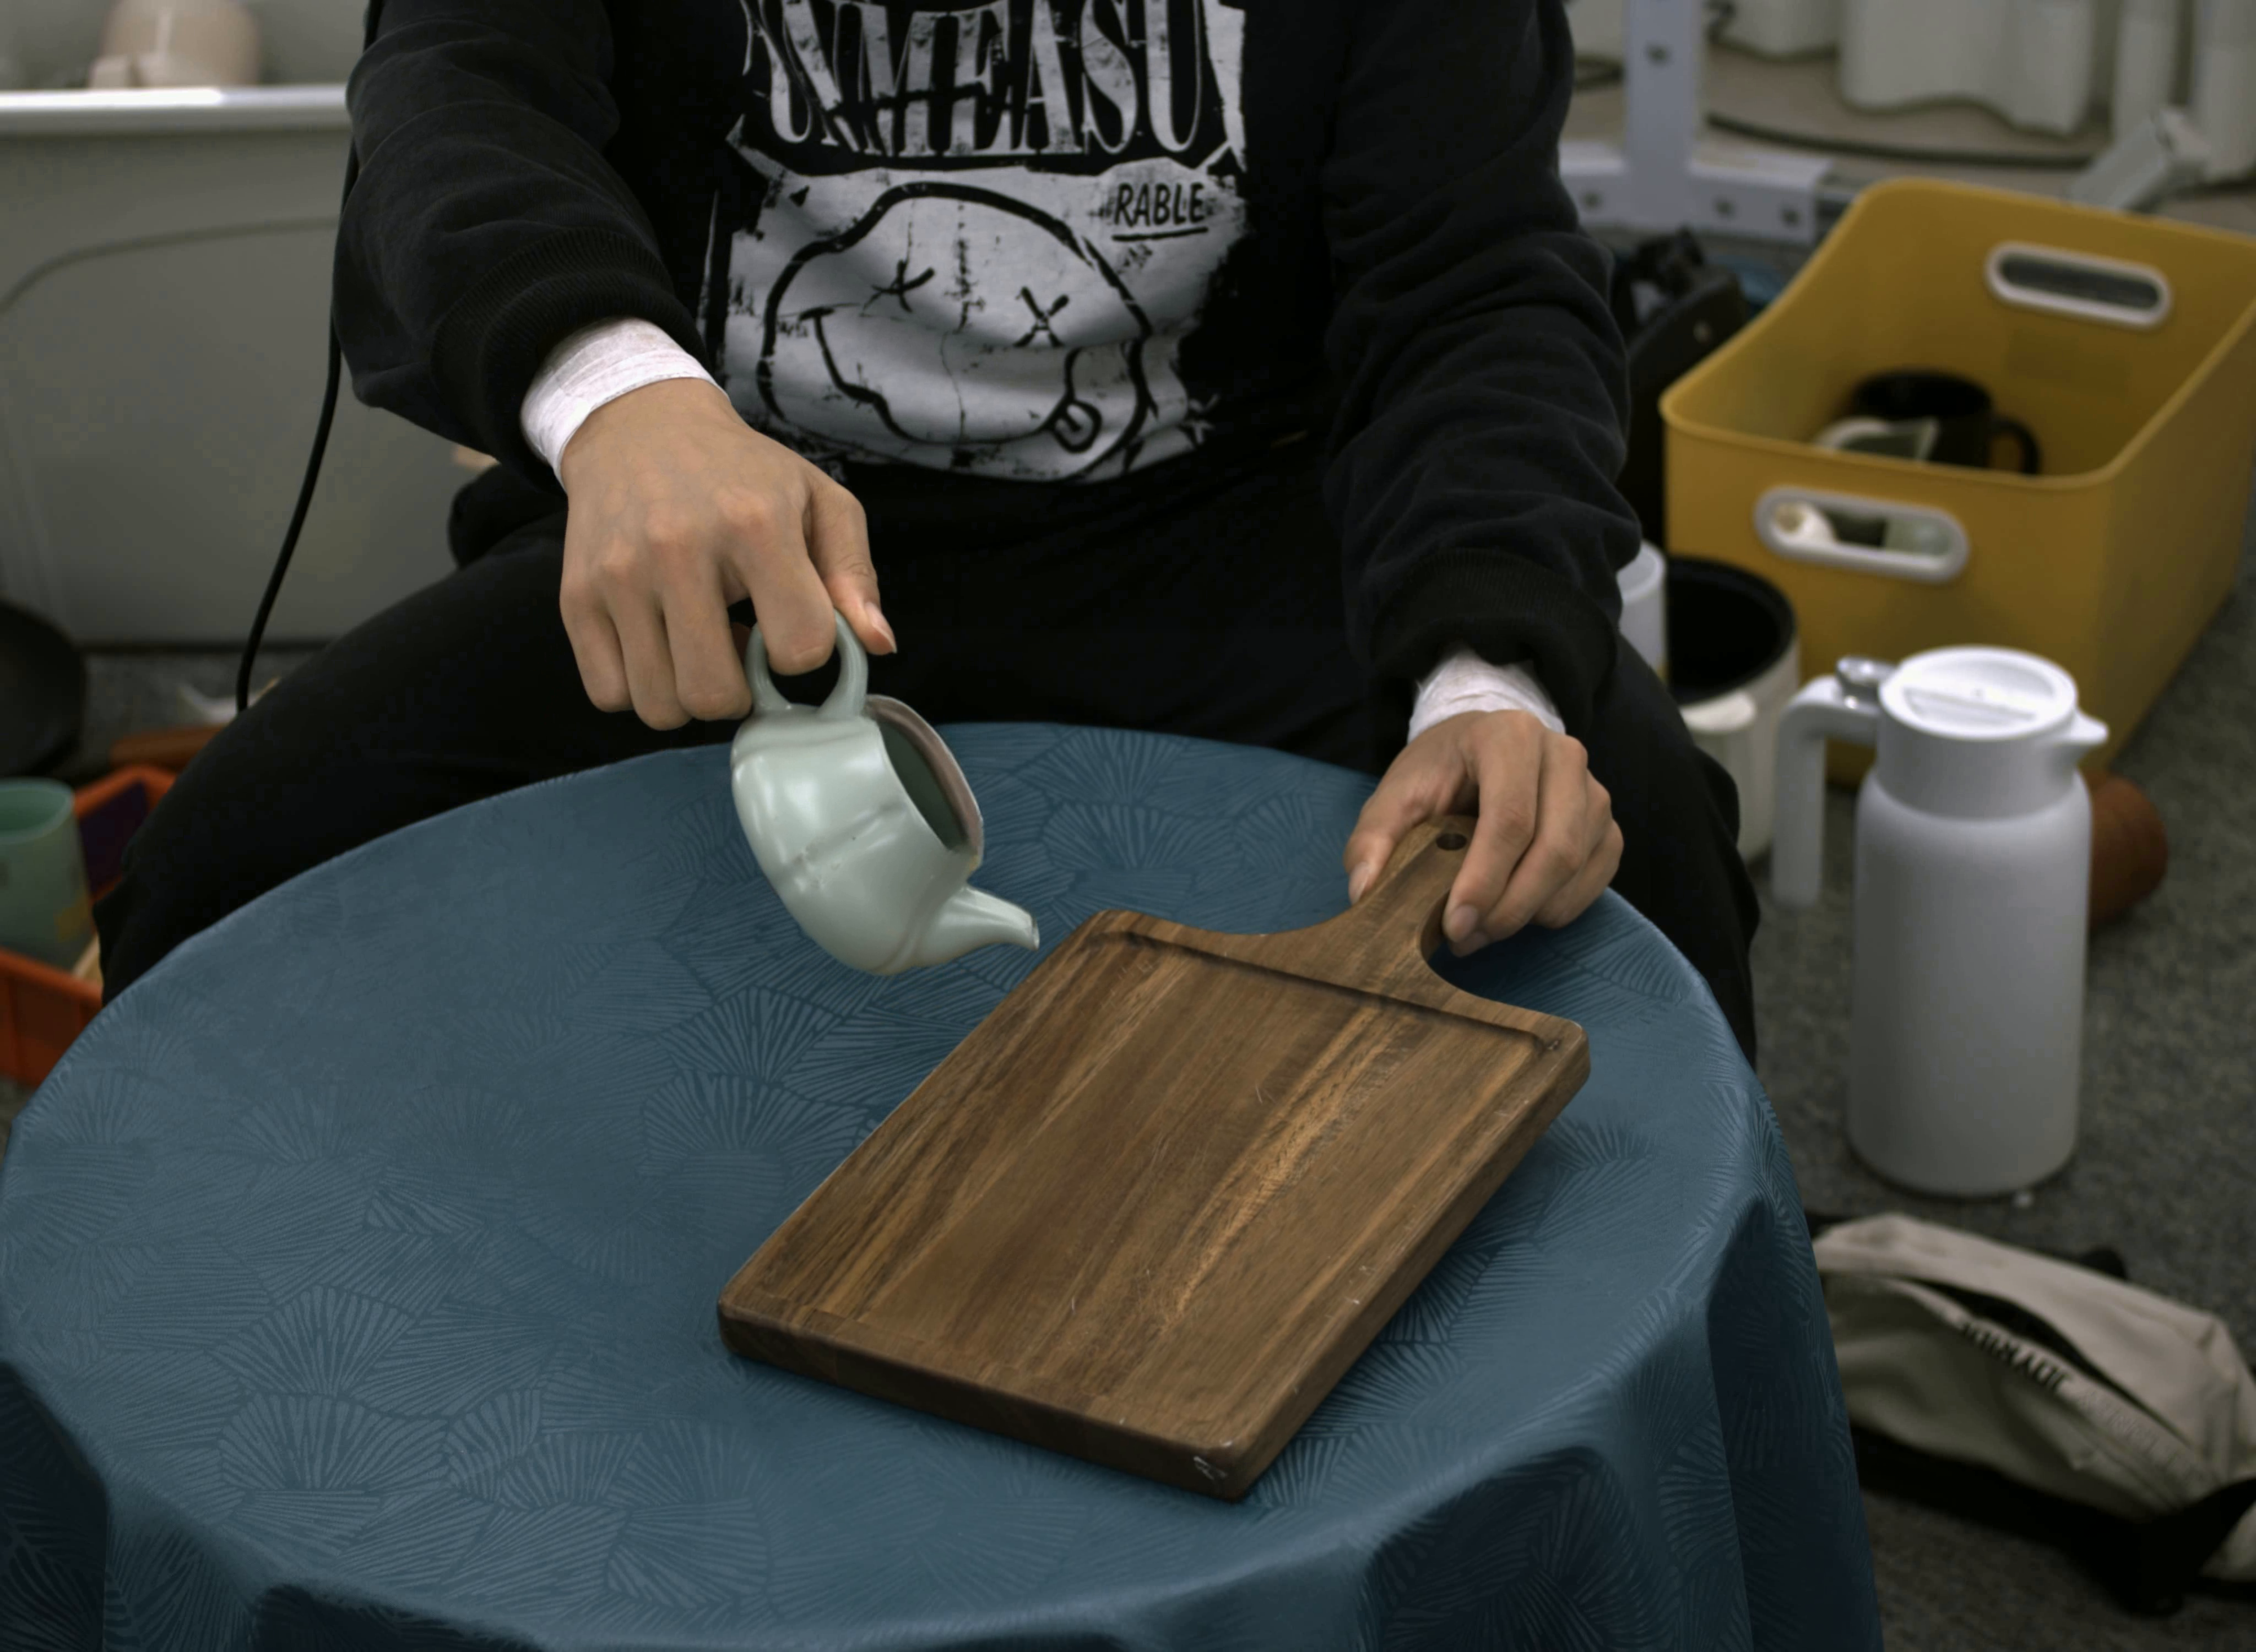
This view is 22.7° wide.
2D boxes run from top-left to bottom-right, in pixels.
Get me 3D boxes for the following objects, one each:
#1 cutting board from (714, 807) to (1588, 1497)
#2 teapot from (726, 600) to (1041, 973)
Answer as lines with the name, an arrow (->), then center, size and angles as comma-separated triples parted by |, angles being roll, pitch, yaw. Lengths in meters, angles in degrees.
cutting board -> 0.035, 0.091, 1.860 | 0.200, 0.023, 0.358 | 12, 36, 27
teapot -> -0.087, -0.007, 1.794 | 0.061, 0.137, 0.097 | -30, 9, 17
